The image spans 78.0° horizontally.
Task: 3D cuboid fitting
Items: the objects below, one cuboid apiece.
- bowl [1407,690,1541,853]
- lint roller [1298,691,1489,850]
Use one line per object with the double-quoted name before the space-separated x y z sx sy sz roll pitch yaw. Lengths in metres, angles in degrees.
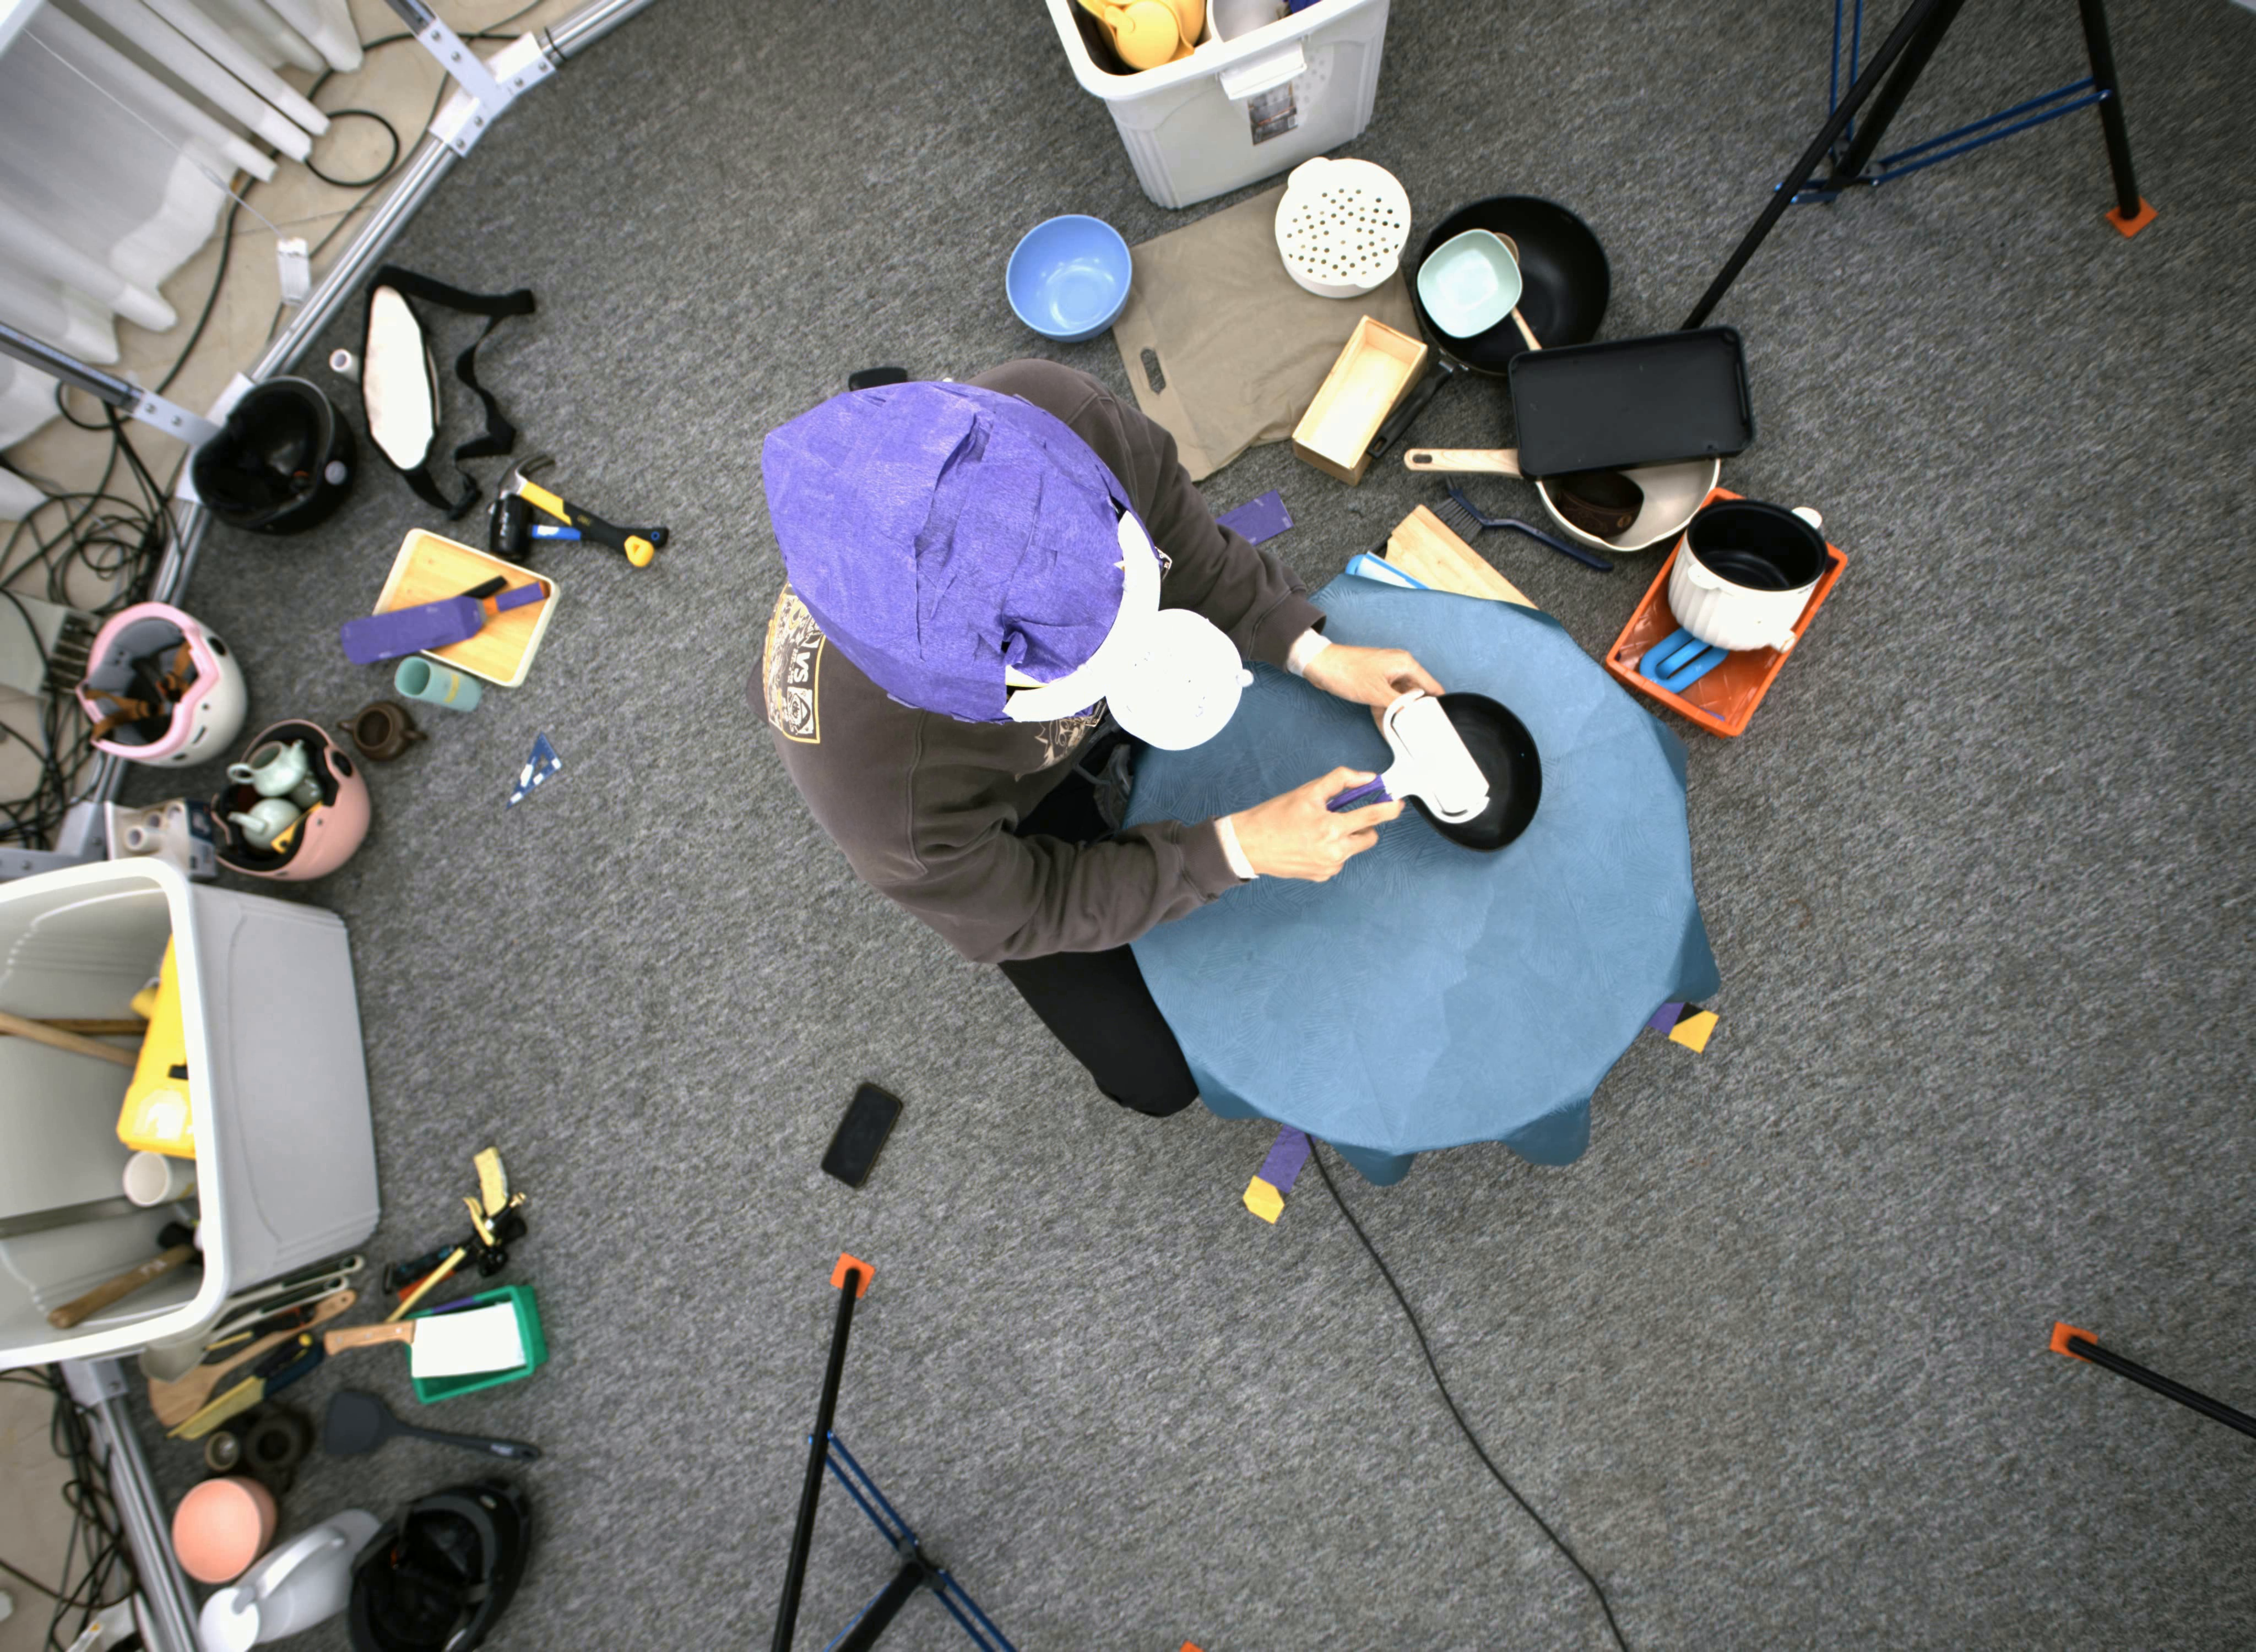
"bowl" 0.352 -0.057 1.417 0.138 0.066 0.169 -25 85 9
"lint roller" 0.238 -0.034 1.286 0.181 0.050 0.134 -32 100 -2
